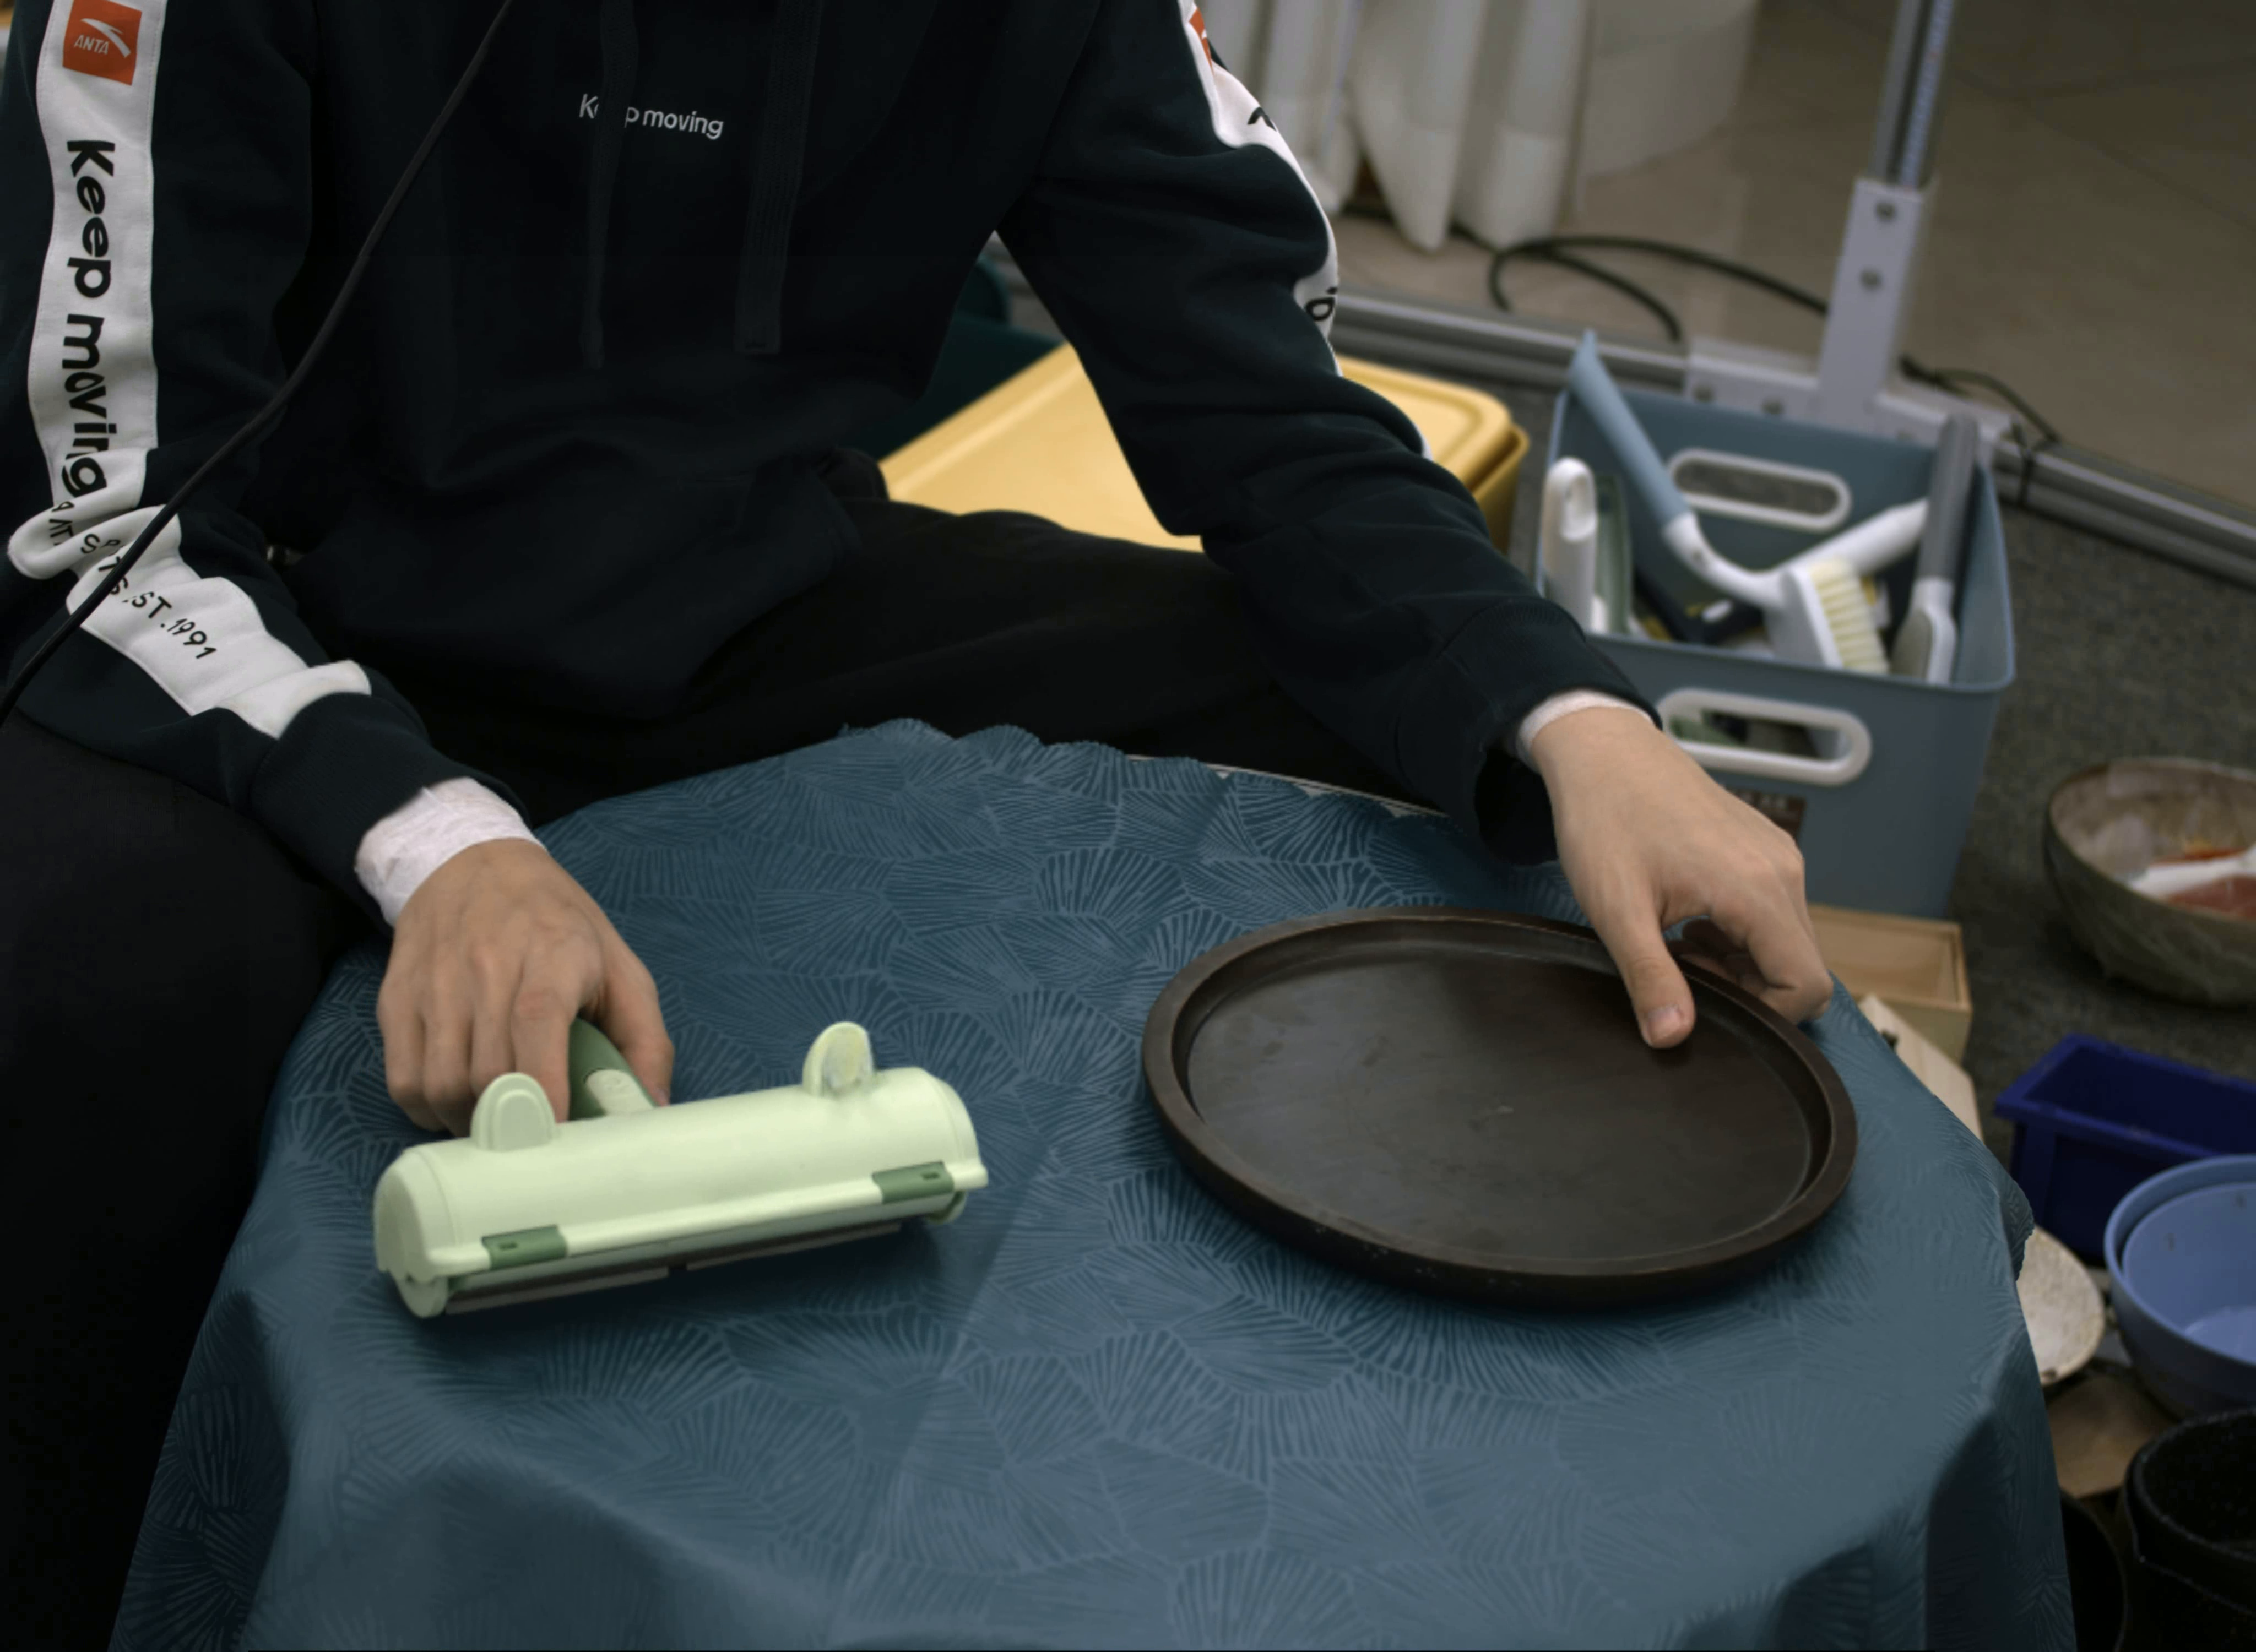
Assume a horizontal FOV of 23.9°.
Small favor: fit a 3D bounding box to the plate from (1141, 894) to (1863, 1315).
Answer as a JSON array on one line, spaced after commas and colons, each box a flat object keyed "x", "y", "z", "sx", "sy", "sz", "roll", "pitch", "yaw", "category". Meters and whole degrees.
[{"x": 0.129, "y": 0.098, "z": 1.852, "sx": 0.254, "sy": 0.029, "sz": 0.256, "roll": 4, "pitch": 28, "yaw": -2, "category": "plate"}]

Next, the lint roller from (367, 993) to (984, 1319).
[{"x": -0.169, "y": 0.083, "z": 1.751, "sx": 0.197, "sy": 0.082, "sz": 0.185, "roll": -8, "pitch": 34, "yaw": -26, "category": "lint roller"}]
